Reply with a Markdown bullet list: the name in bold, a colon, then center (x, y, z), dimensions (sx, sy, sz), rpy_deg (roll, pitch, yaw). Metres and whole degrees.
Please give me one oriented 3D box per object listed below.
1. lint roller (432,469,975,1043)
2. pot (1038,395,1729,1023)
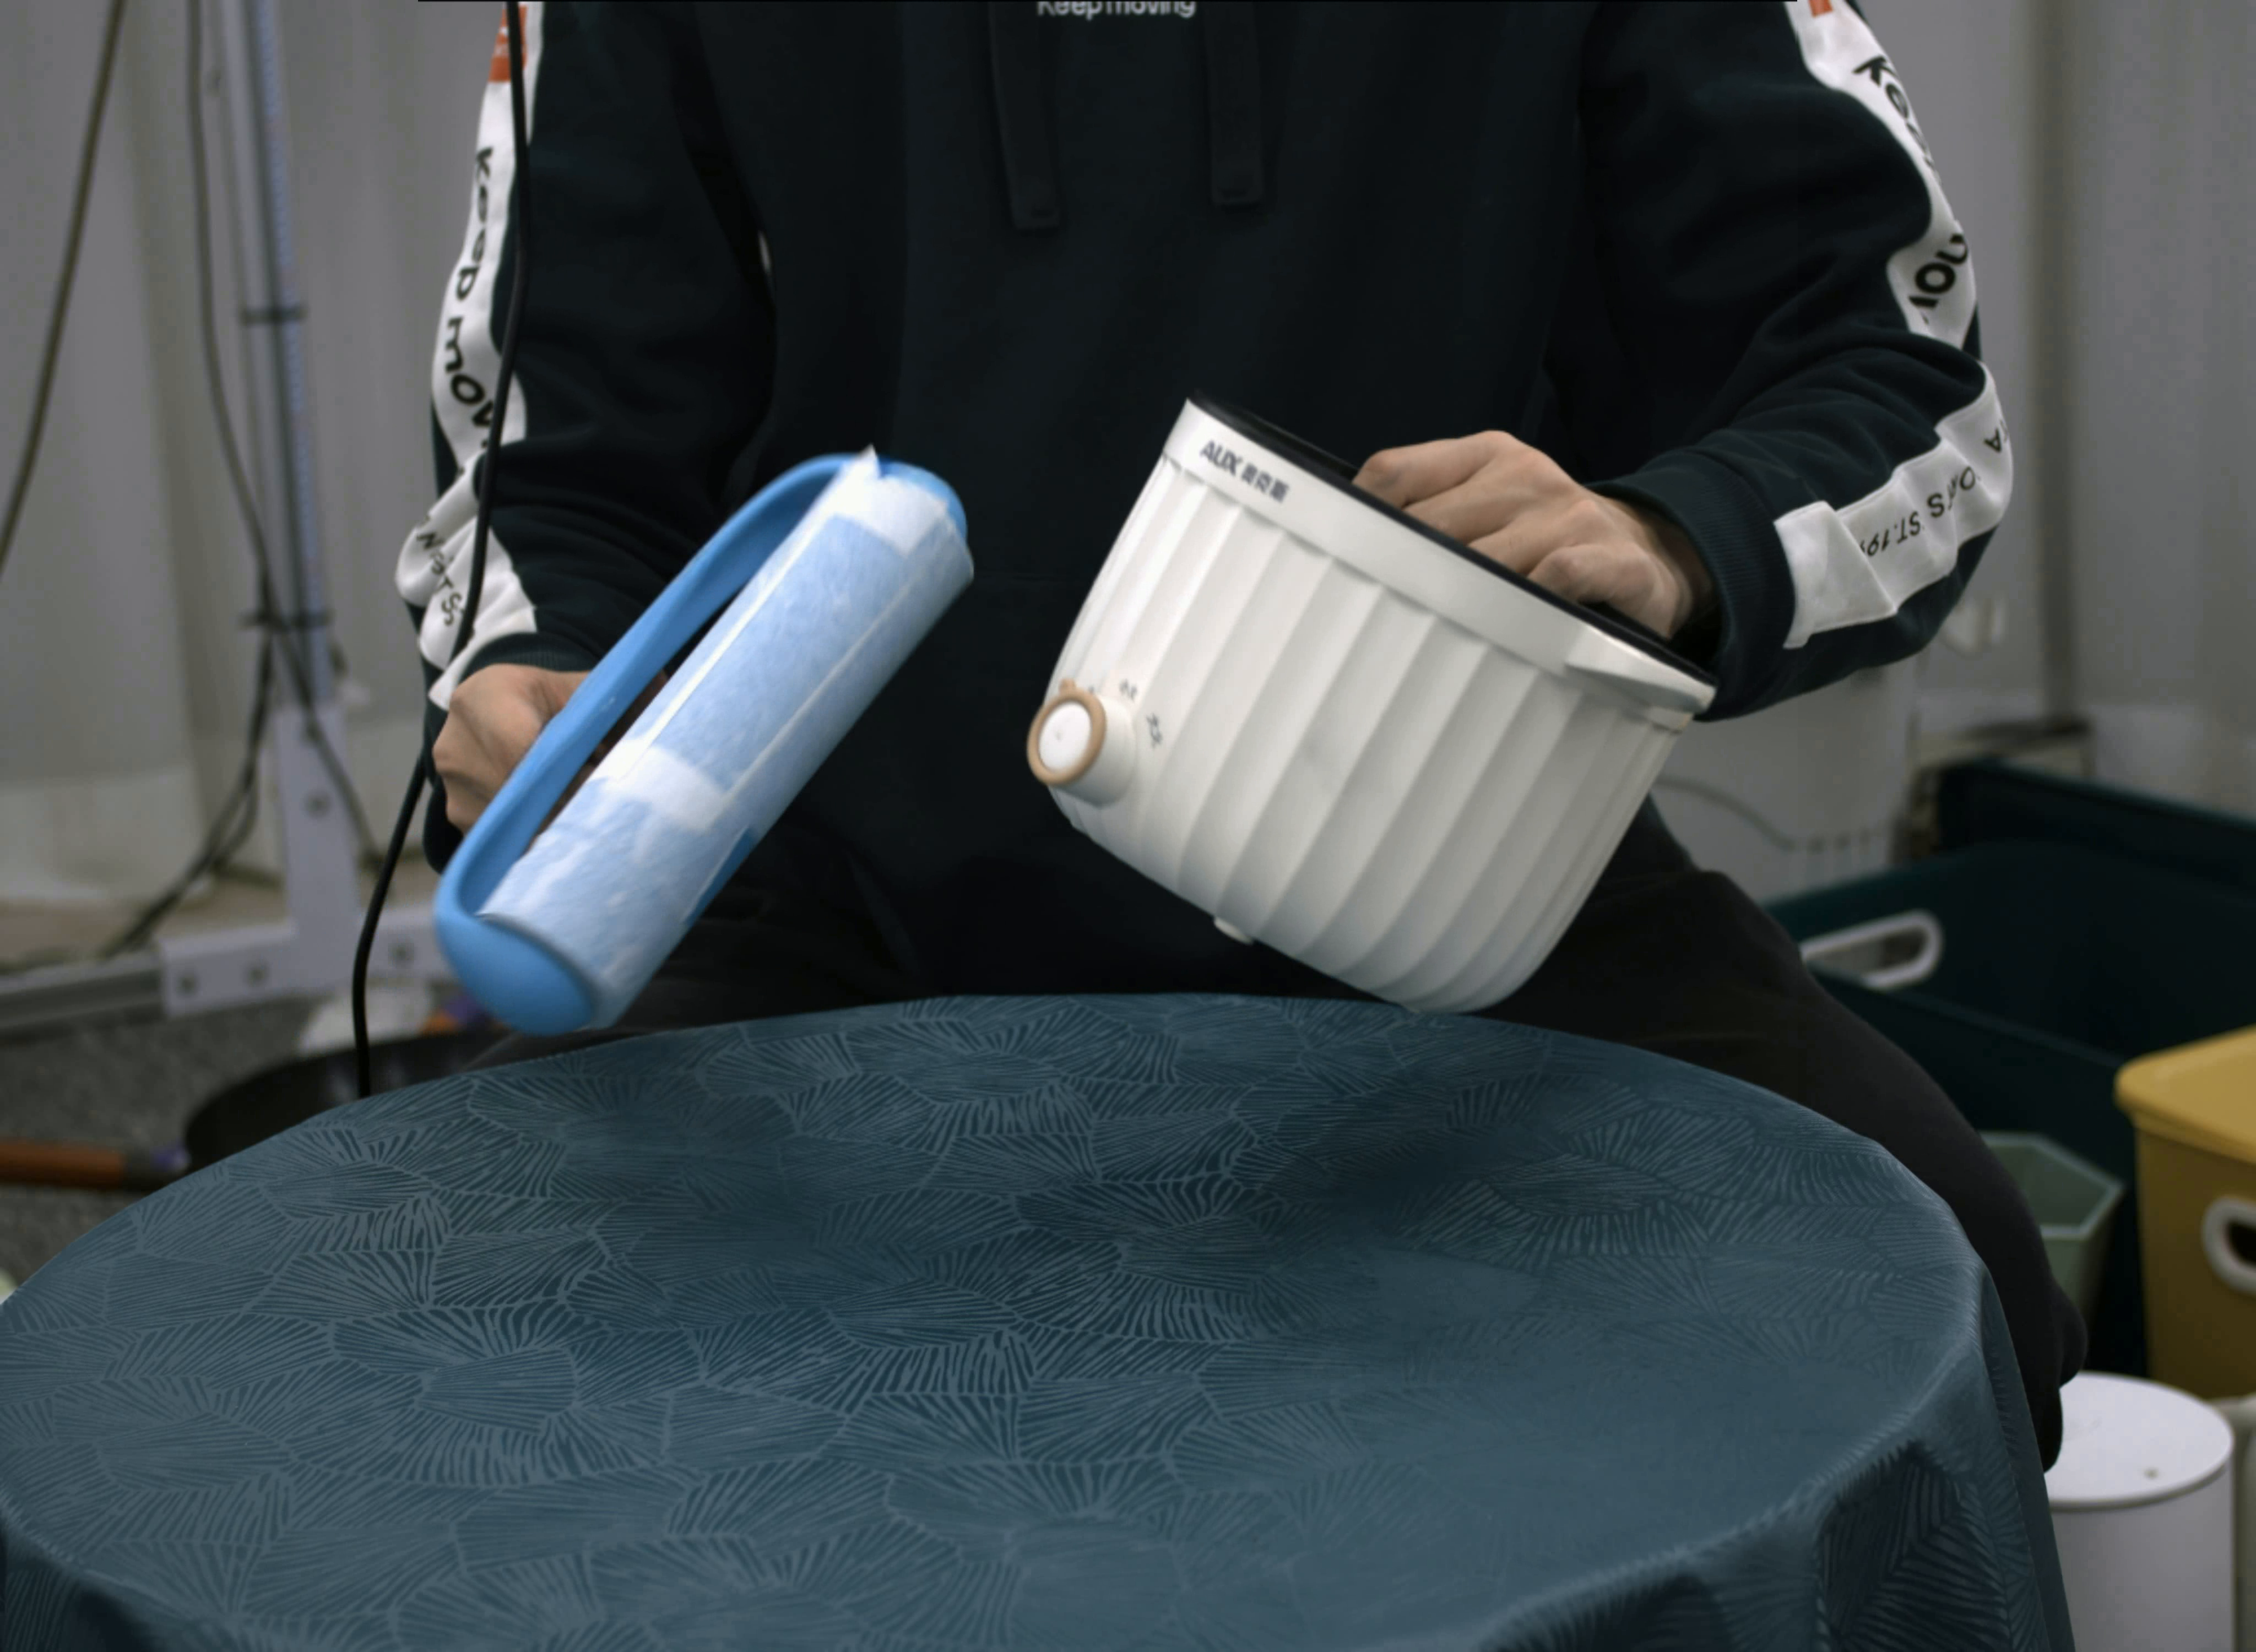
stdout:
- **lint roller**: center (-0.155, -0.015, 1.735), dimensions (0.180, 0.067, 0.230), rpy_deg (-16, 33, 57)
- **pot**: center (0.067, -0.030, 1.663), dimensions (0.188, 0.143, 0.243), rpy_deg (27, 3, -43)
